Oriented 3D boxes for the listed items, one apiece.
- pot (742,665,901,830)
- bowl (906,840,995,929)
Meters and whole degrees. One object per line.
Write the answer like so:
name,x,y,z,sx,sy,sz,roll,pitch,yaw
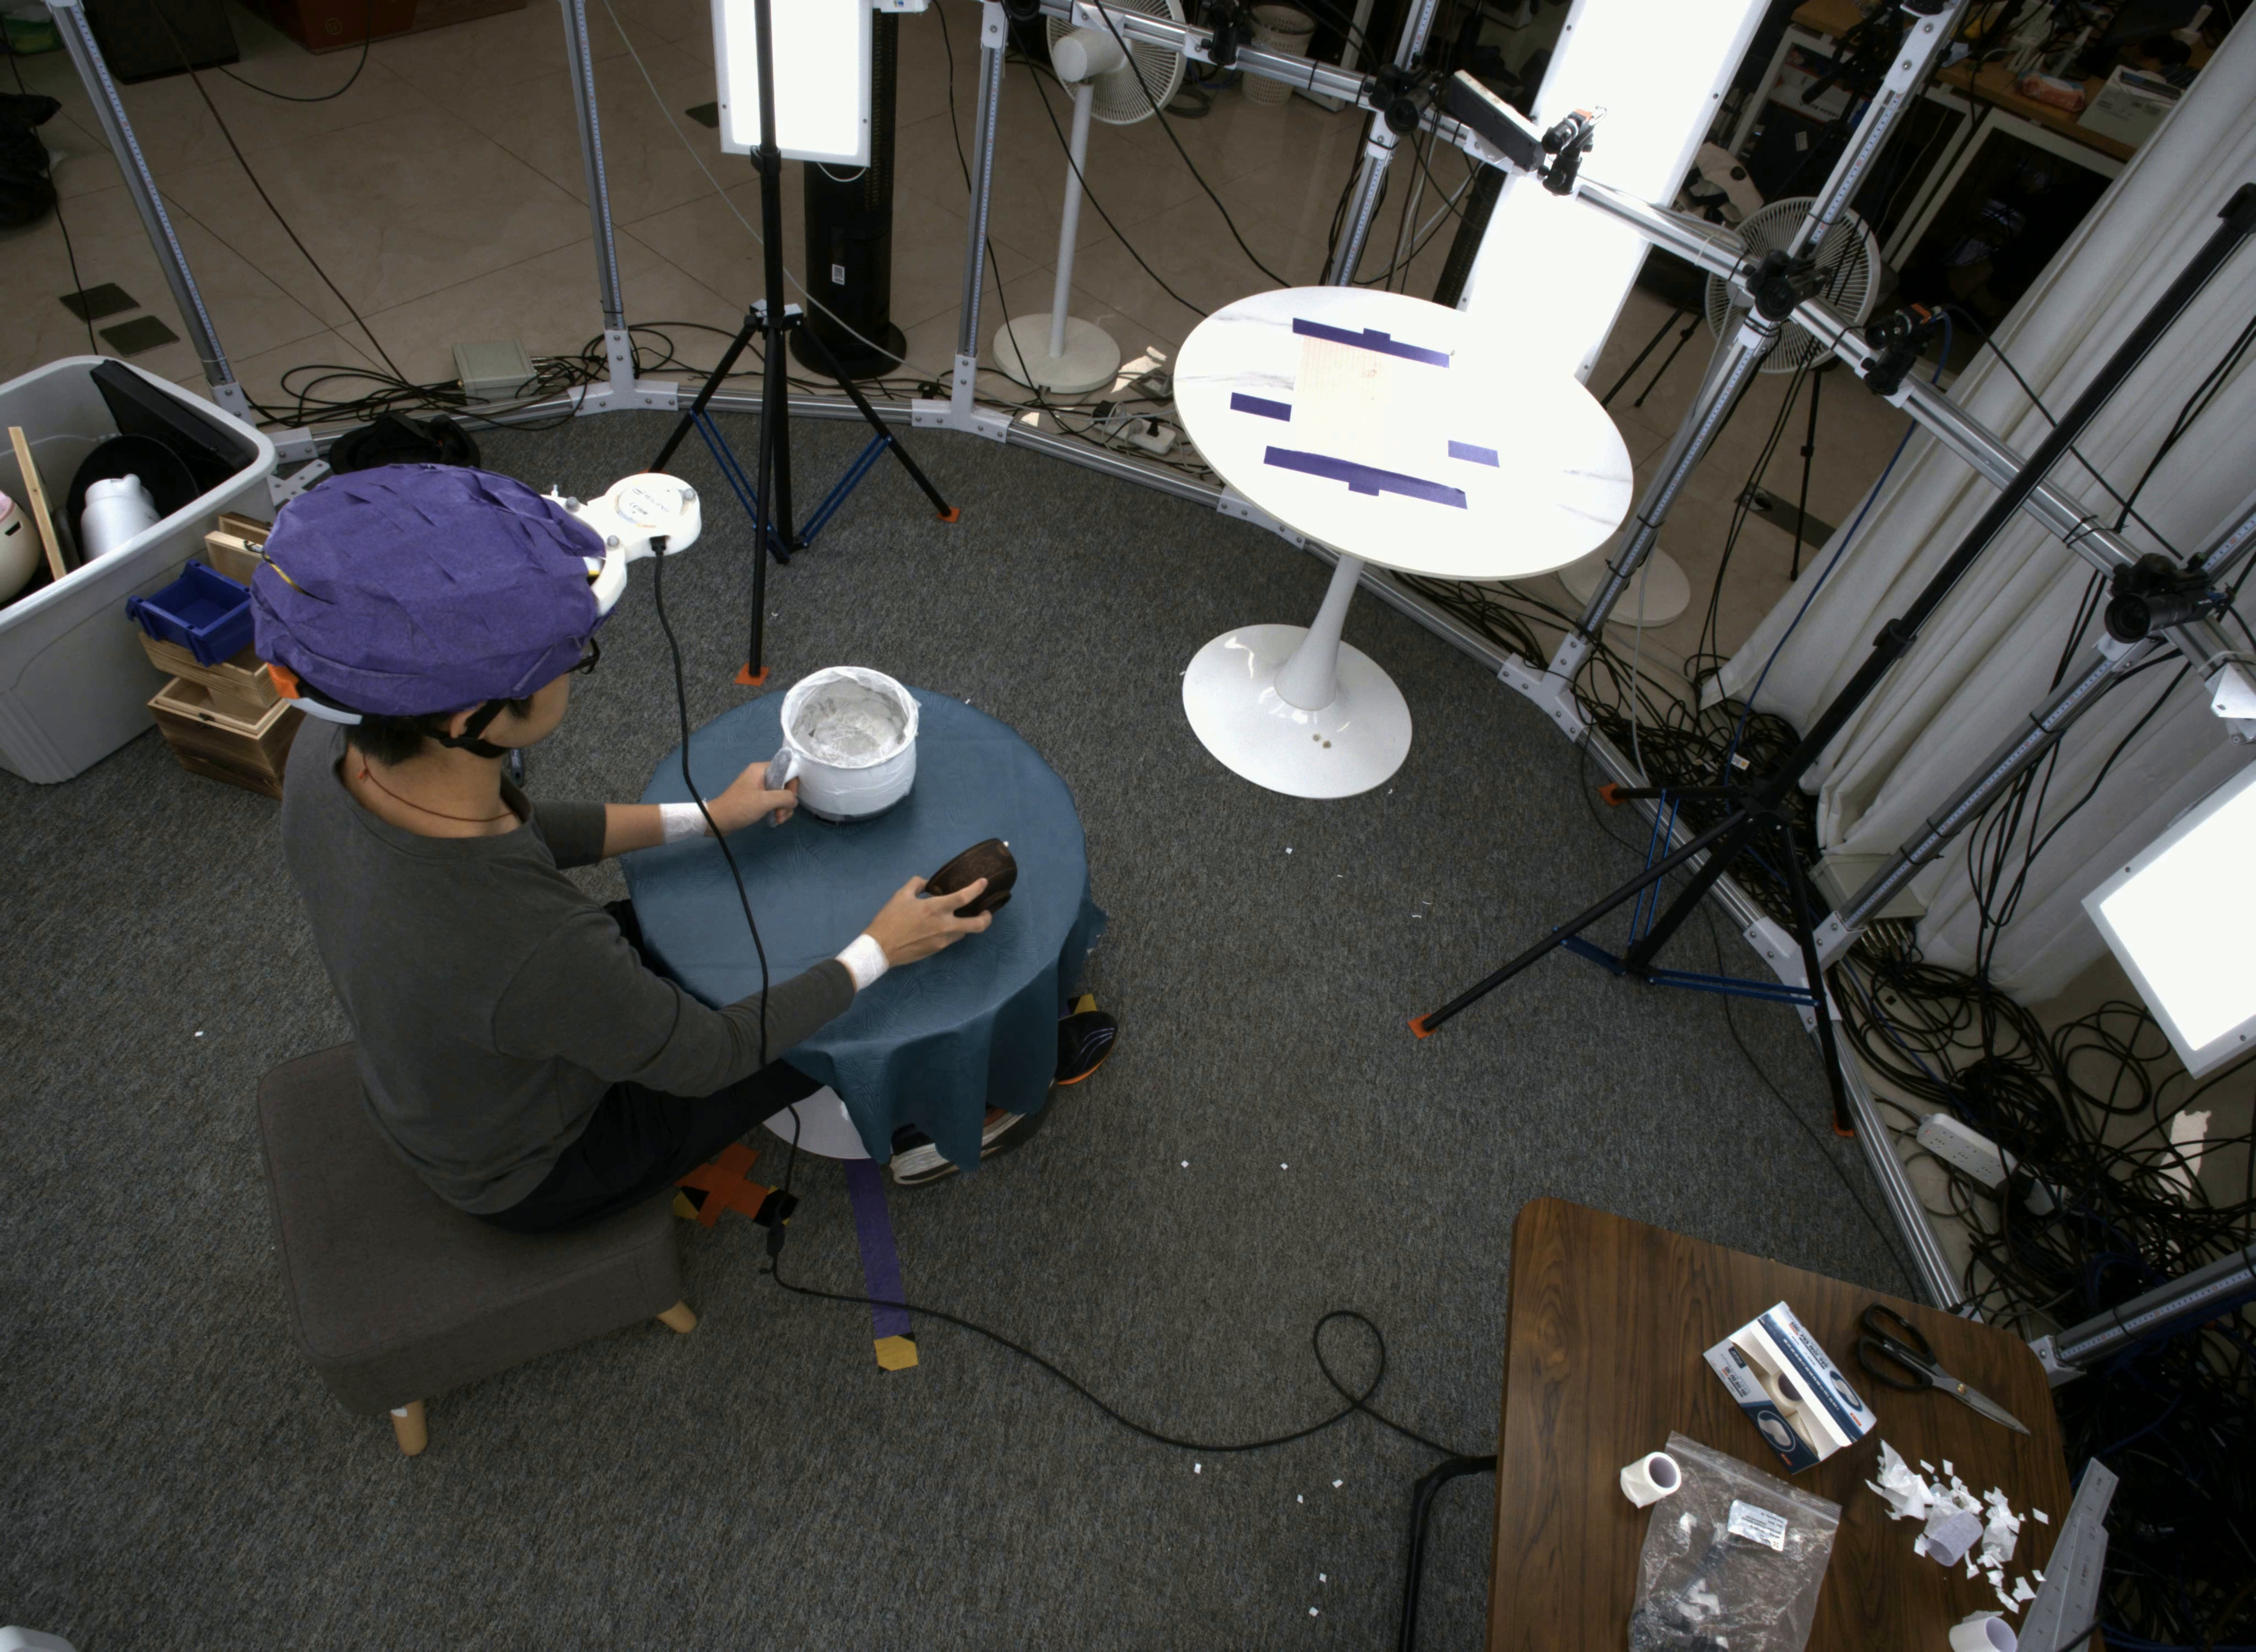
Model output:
pot,-0.411,-0.090,1.718,0.175,0.139,0.234,39,56,17
bowl,-0.215,0.082,1.642,0.069,0.119,0.118,45,56,10
